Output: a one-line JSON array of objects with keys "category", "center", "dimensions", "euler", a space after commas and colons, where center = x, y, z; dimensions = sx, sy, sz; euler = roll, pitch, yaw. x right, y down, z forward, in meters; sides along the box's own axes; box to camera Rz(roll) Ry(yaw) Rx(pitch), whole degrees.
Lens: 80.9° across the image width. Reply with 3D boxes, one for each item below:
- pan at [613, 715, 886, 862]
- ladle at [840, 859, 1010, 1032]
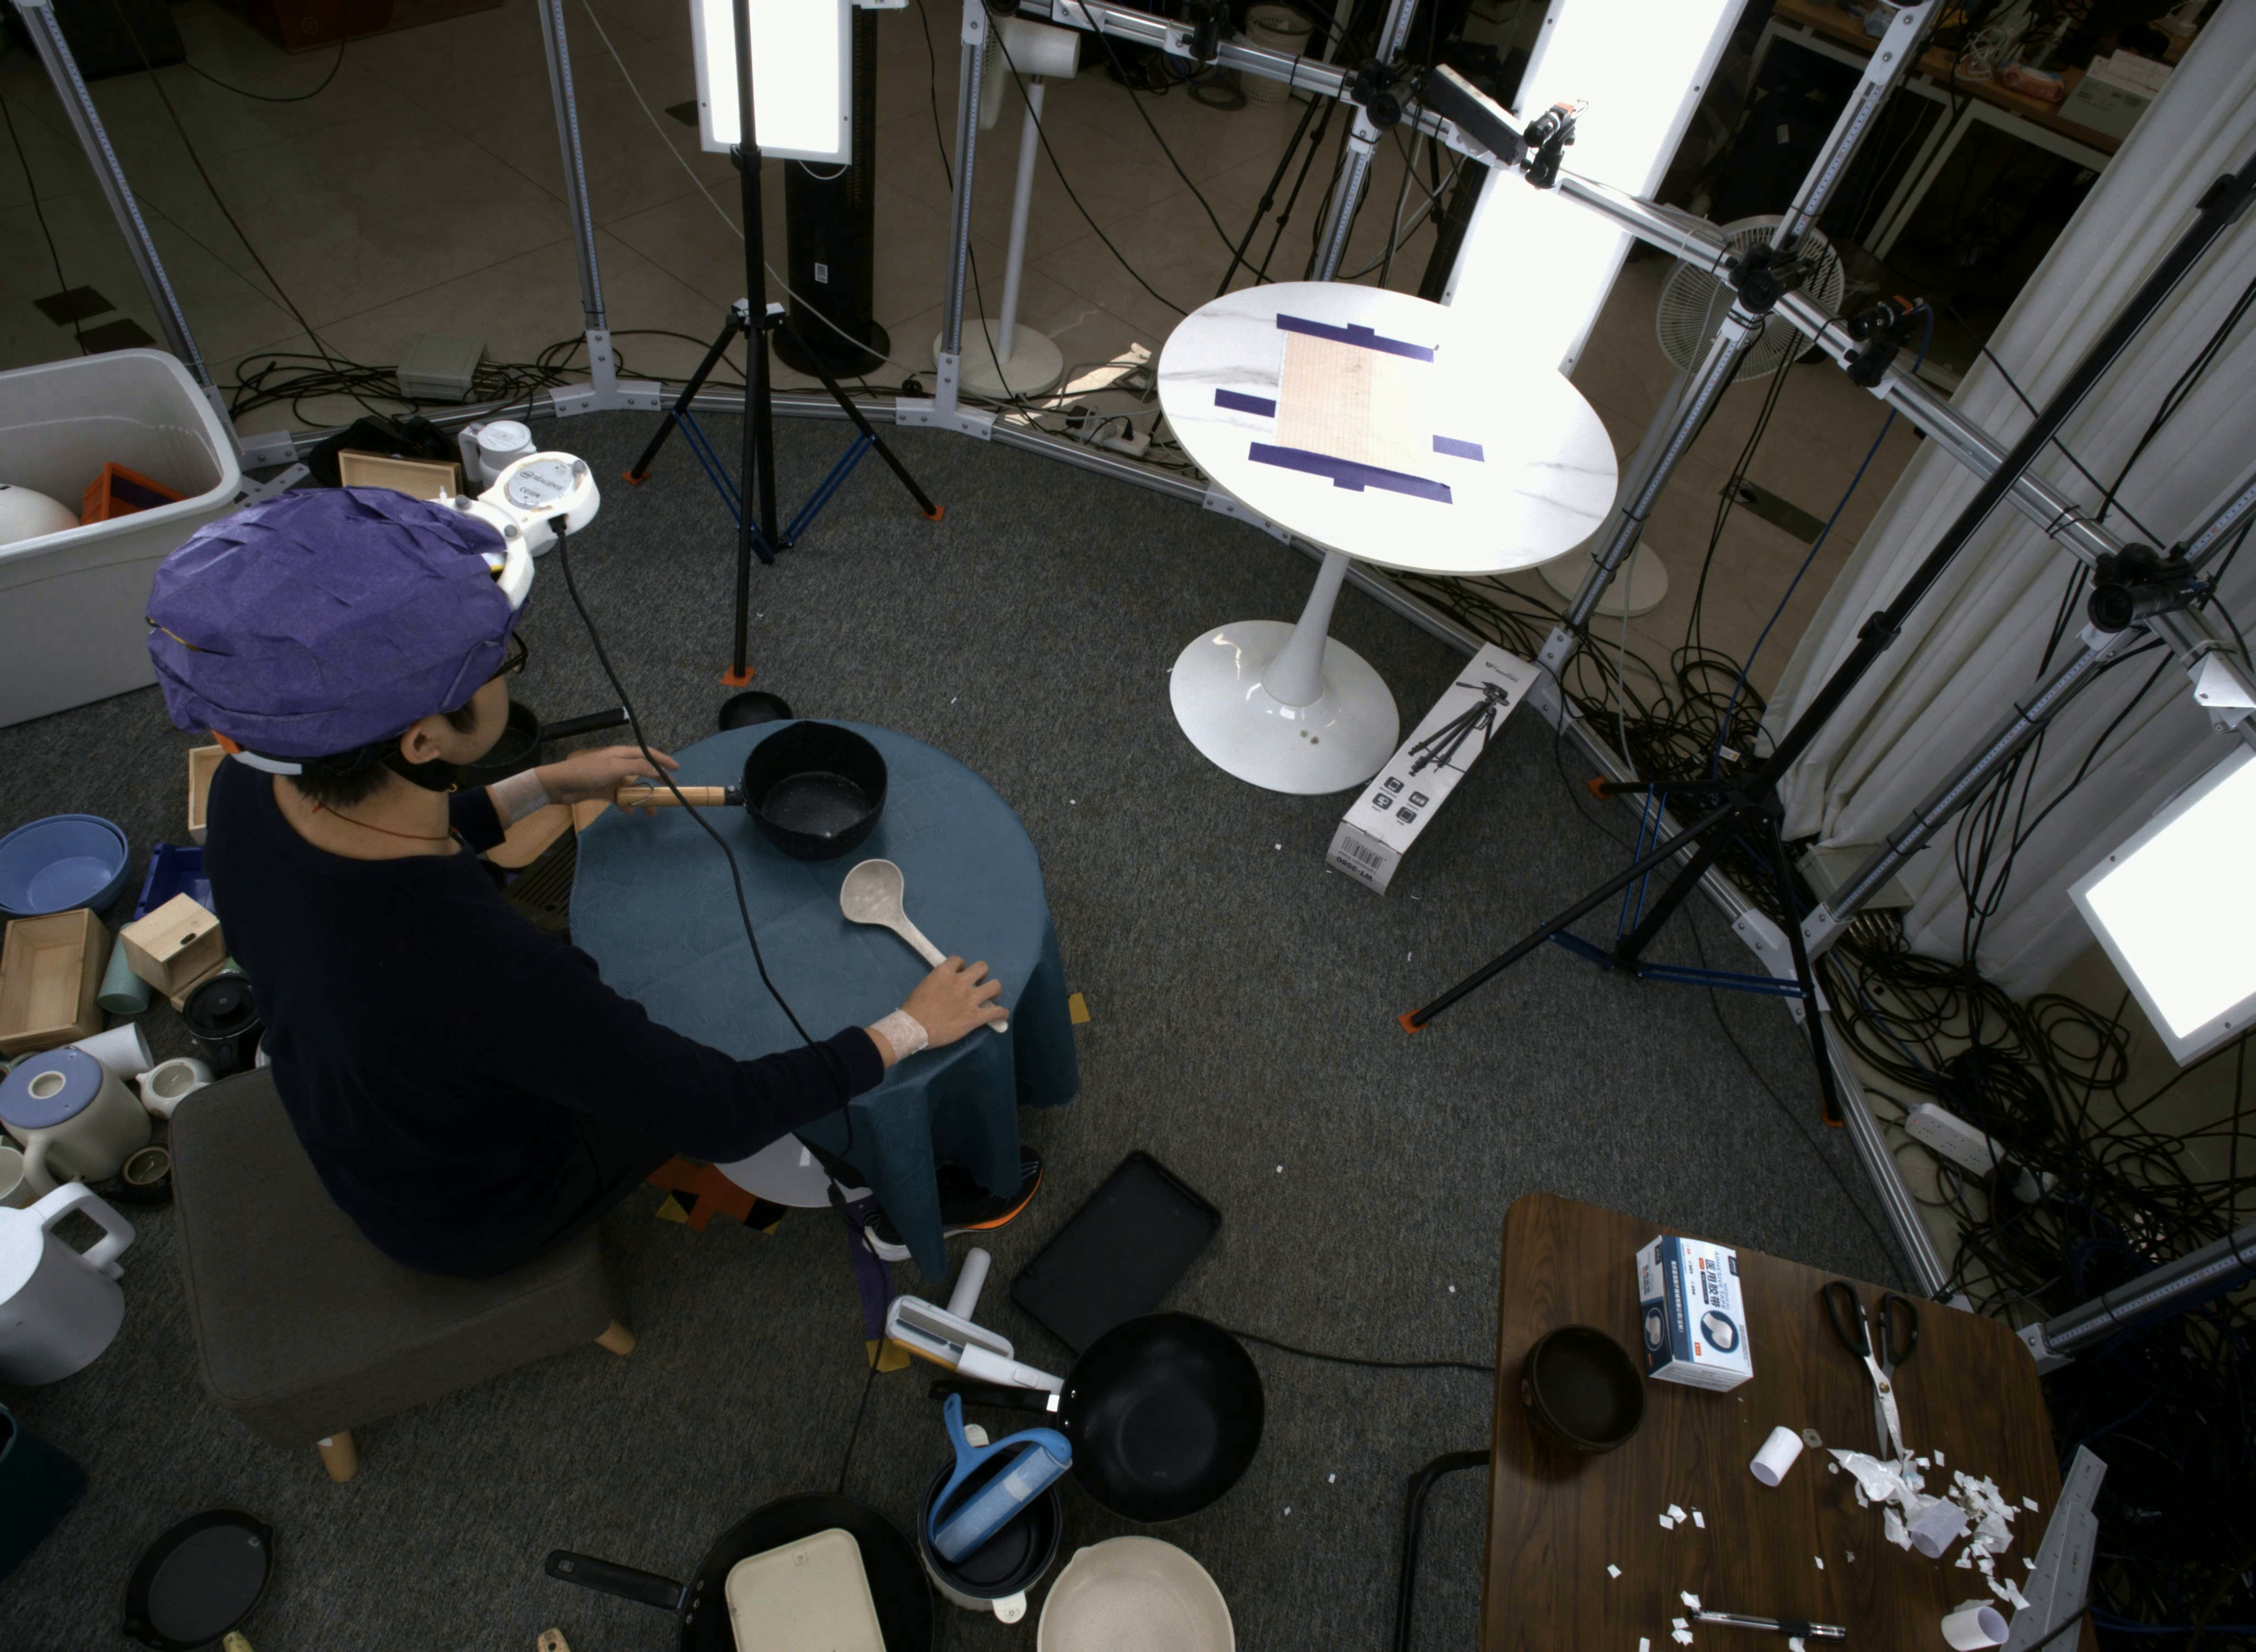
[{"category": "pan", "center": [-0.481, -0.034, 1.654], "dimensions": [0.345, 0.110, 0.202], "euler": [-9, 57, -23]}, {"category": "ladle", "center": [-0.245, 0.147, 1.608], "dimensions": [0.269, 0.071, 0.089], "euler": [40, 62, 15]}]
